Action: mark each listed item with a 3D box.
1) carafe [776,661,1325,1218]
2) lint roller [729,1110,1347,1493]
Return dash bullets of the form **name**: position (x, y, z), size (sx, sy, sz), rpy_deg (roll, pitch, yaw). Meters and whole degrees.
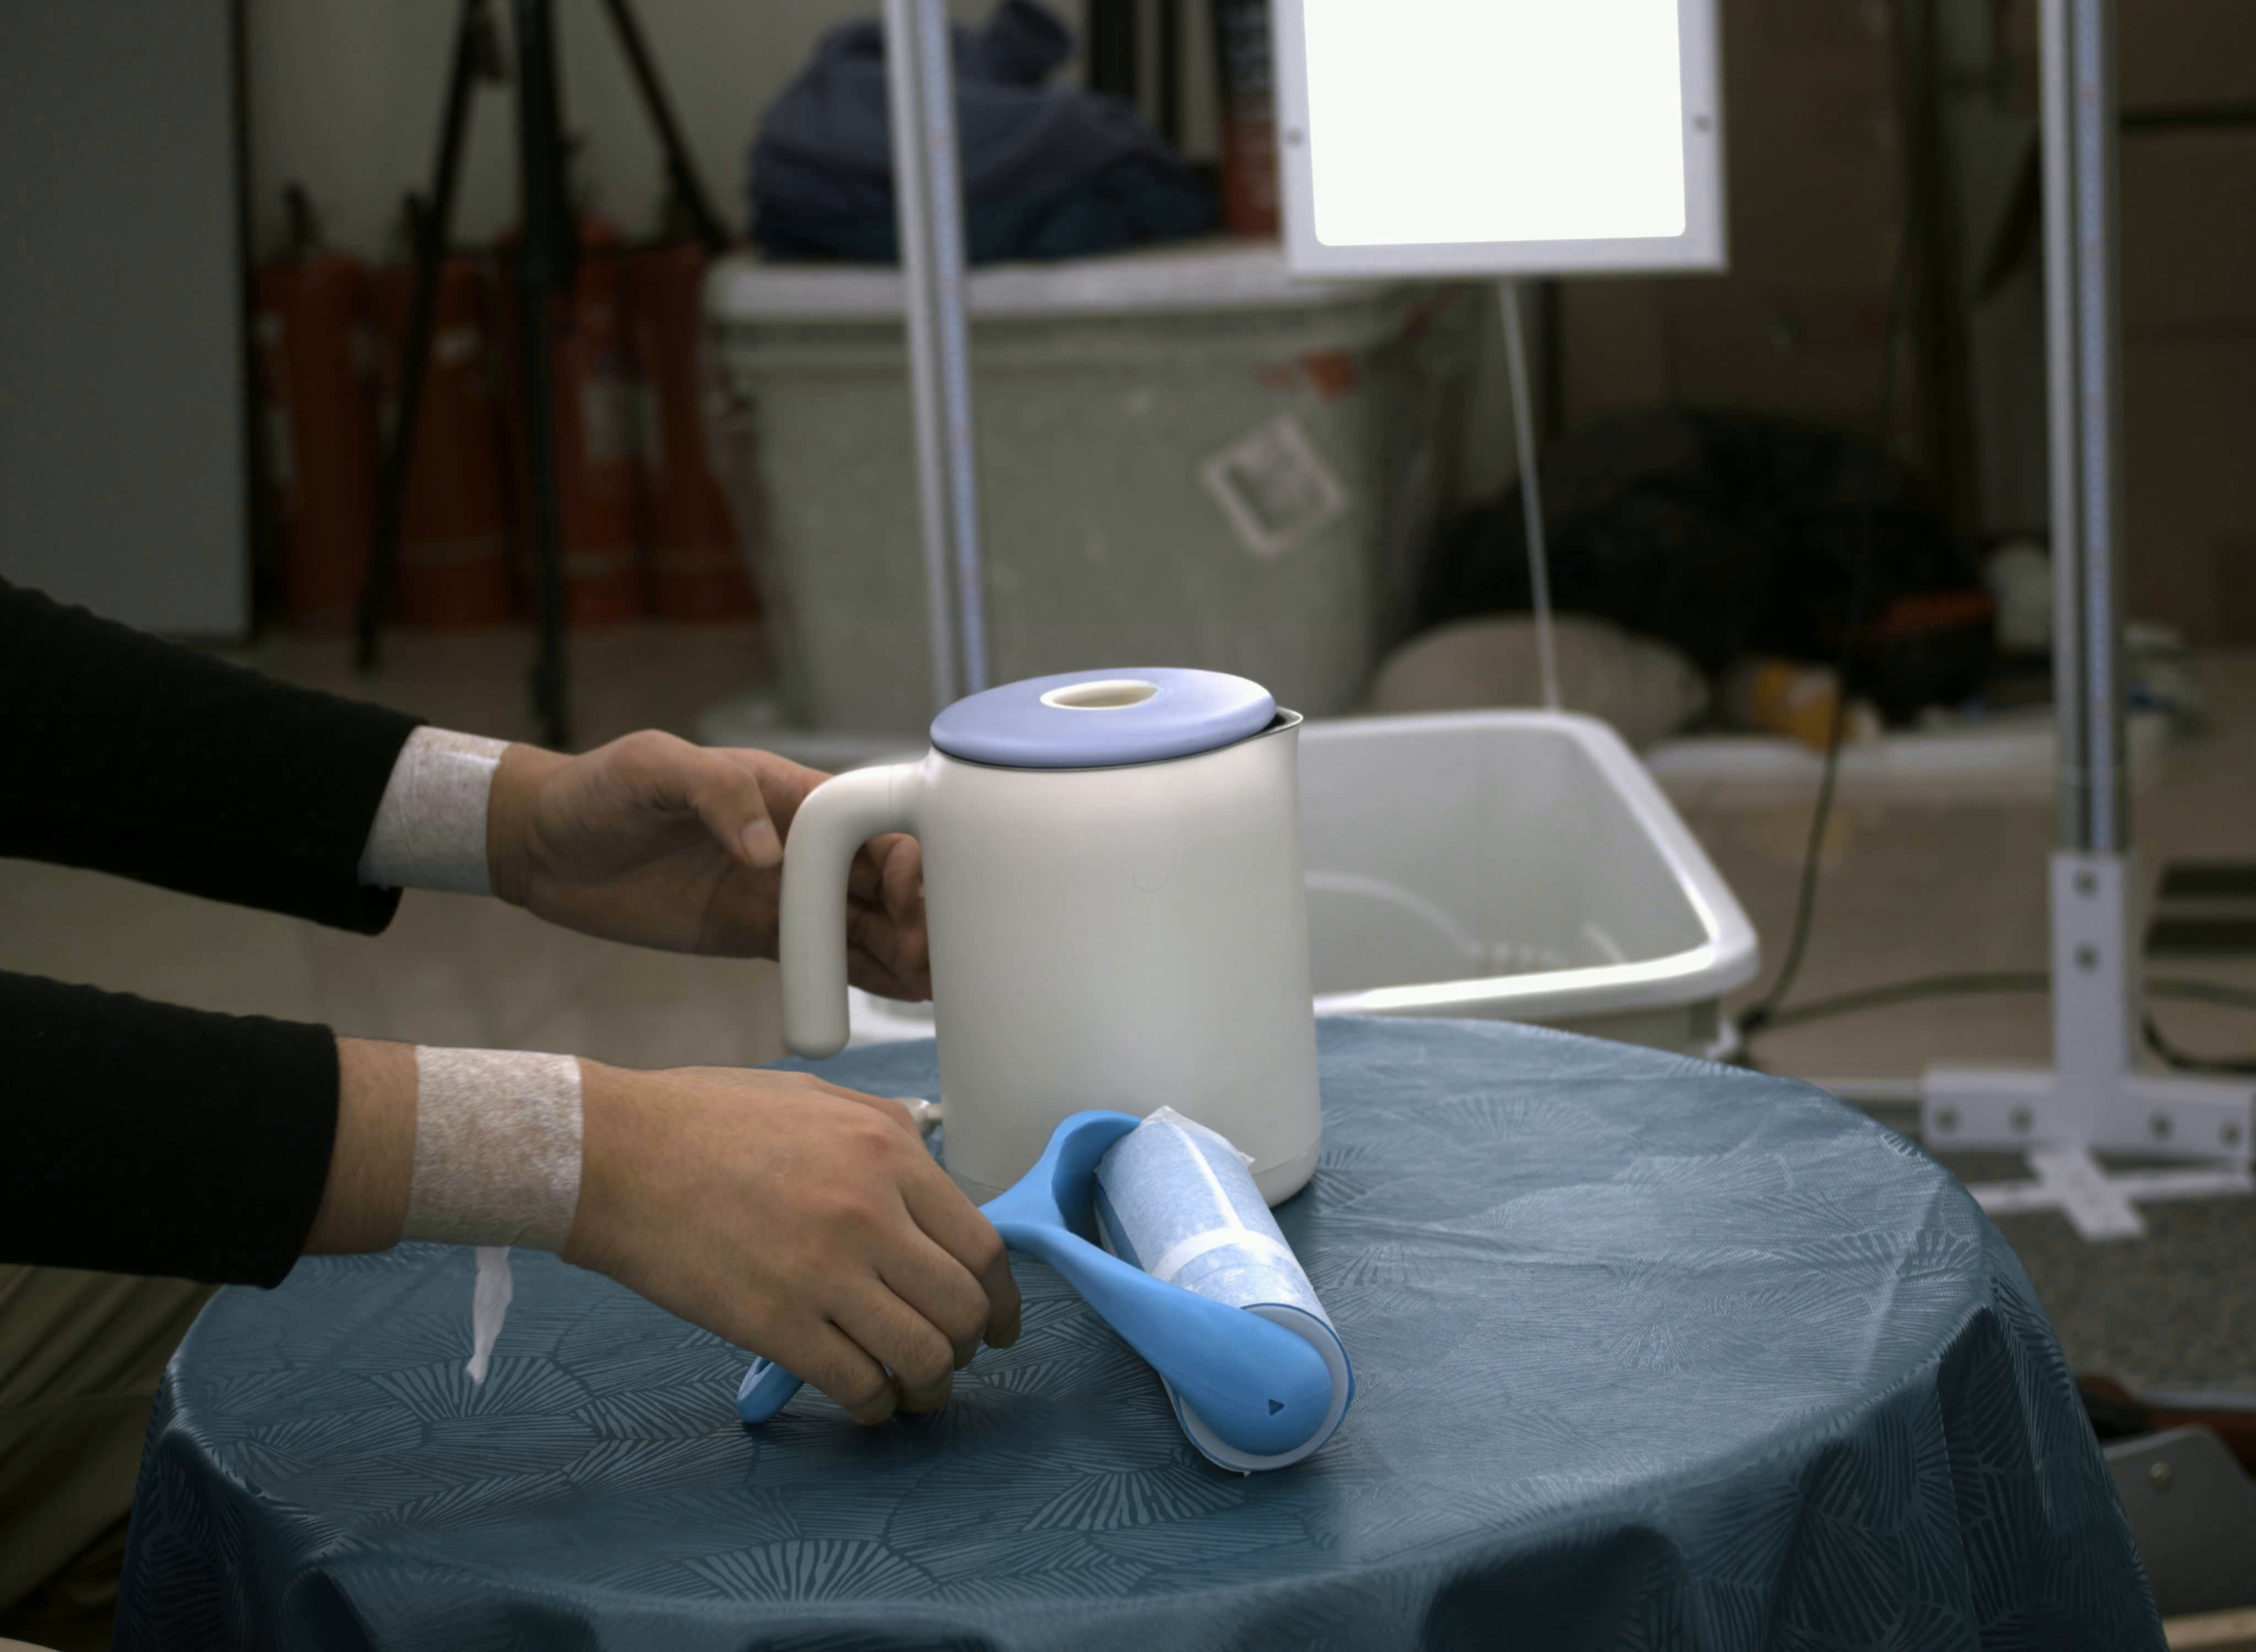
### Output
- **carafe**: position (-0.027, 0.043, 1.886), size (0.192, 0.183, 0.131), rpy_deg (-5, 13, 10)
- **lint roller**: position (-0.033, 0.147, 1.703), size (0.178, 0.068, 0.230), rpy_deg (-1, 16, -9)
